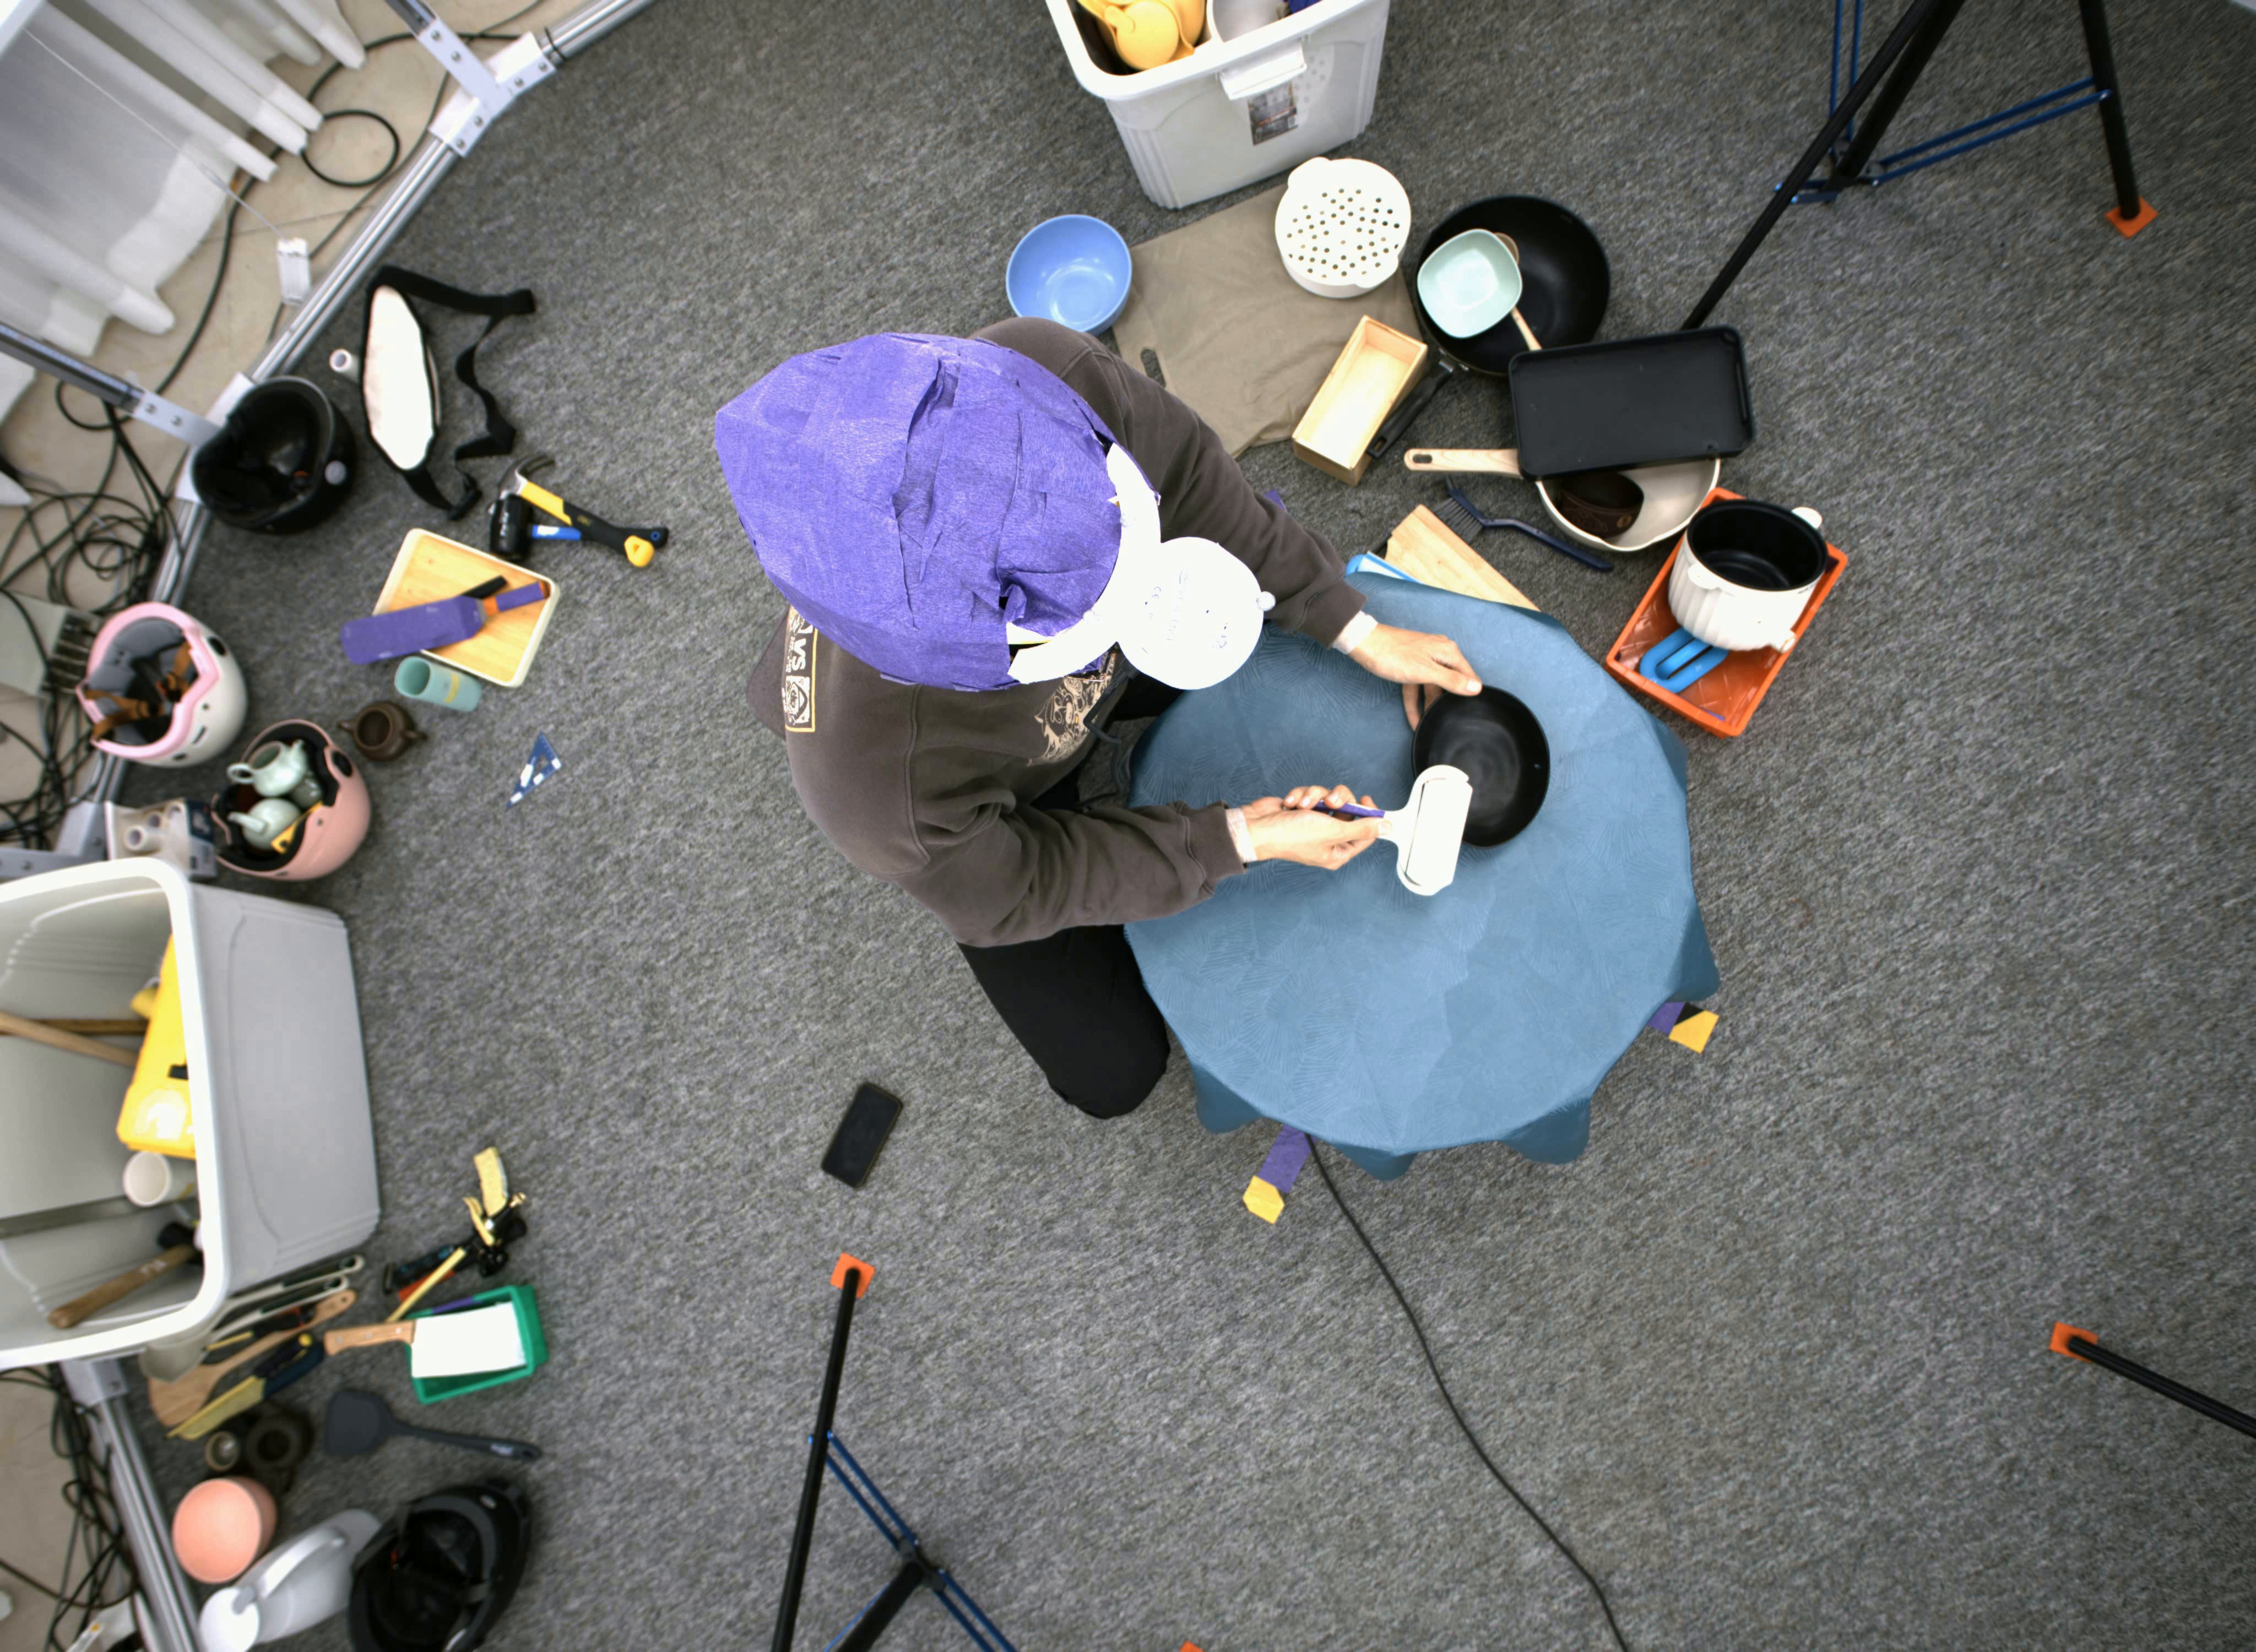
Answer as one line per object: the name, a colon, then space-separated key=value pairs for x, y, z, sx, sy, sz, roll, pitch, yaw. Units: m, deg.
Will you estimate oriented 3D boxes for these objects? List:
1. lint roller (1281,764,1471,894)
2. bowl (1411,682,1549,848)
lint roller: x=0.242 y=-0.003 z=1.353 sx=0.181 sy=0.049 sz=0.135 roll=5 pitch=116 yaw=-8
bowl: x=0.361 y=-0.063 z=1.415 sx=0.138 sy=0.066 sz=0.169 roll=-9 pitch=87 yaw=11
